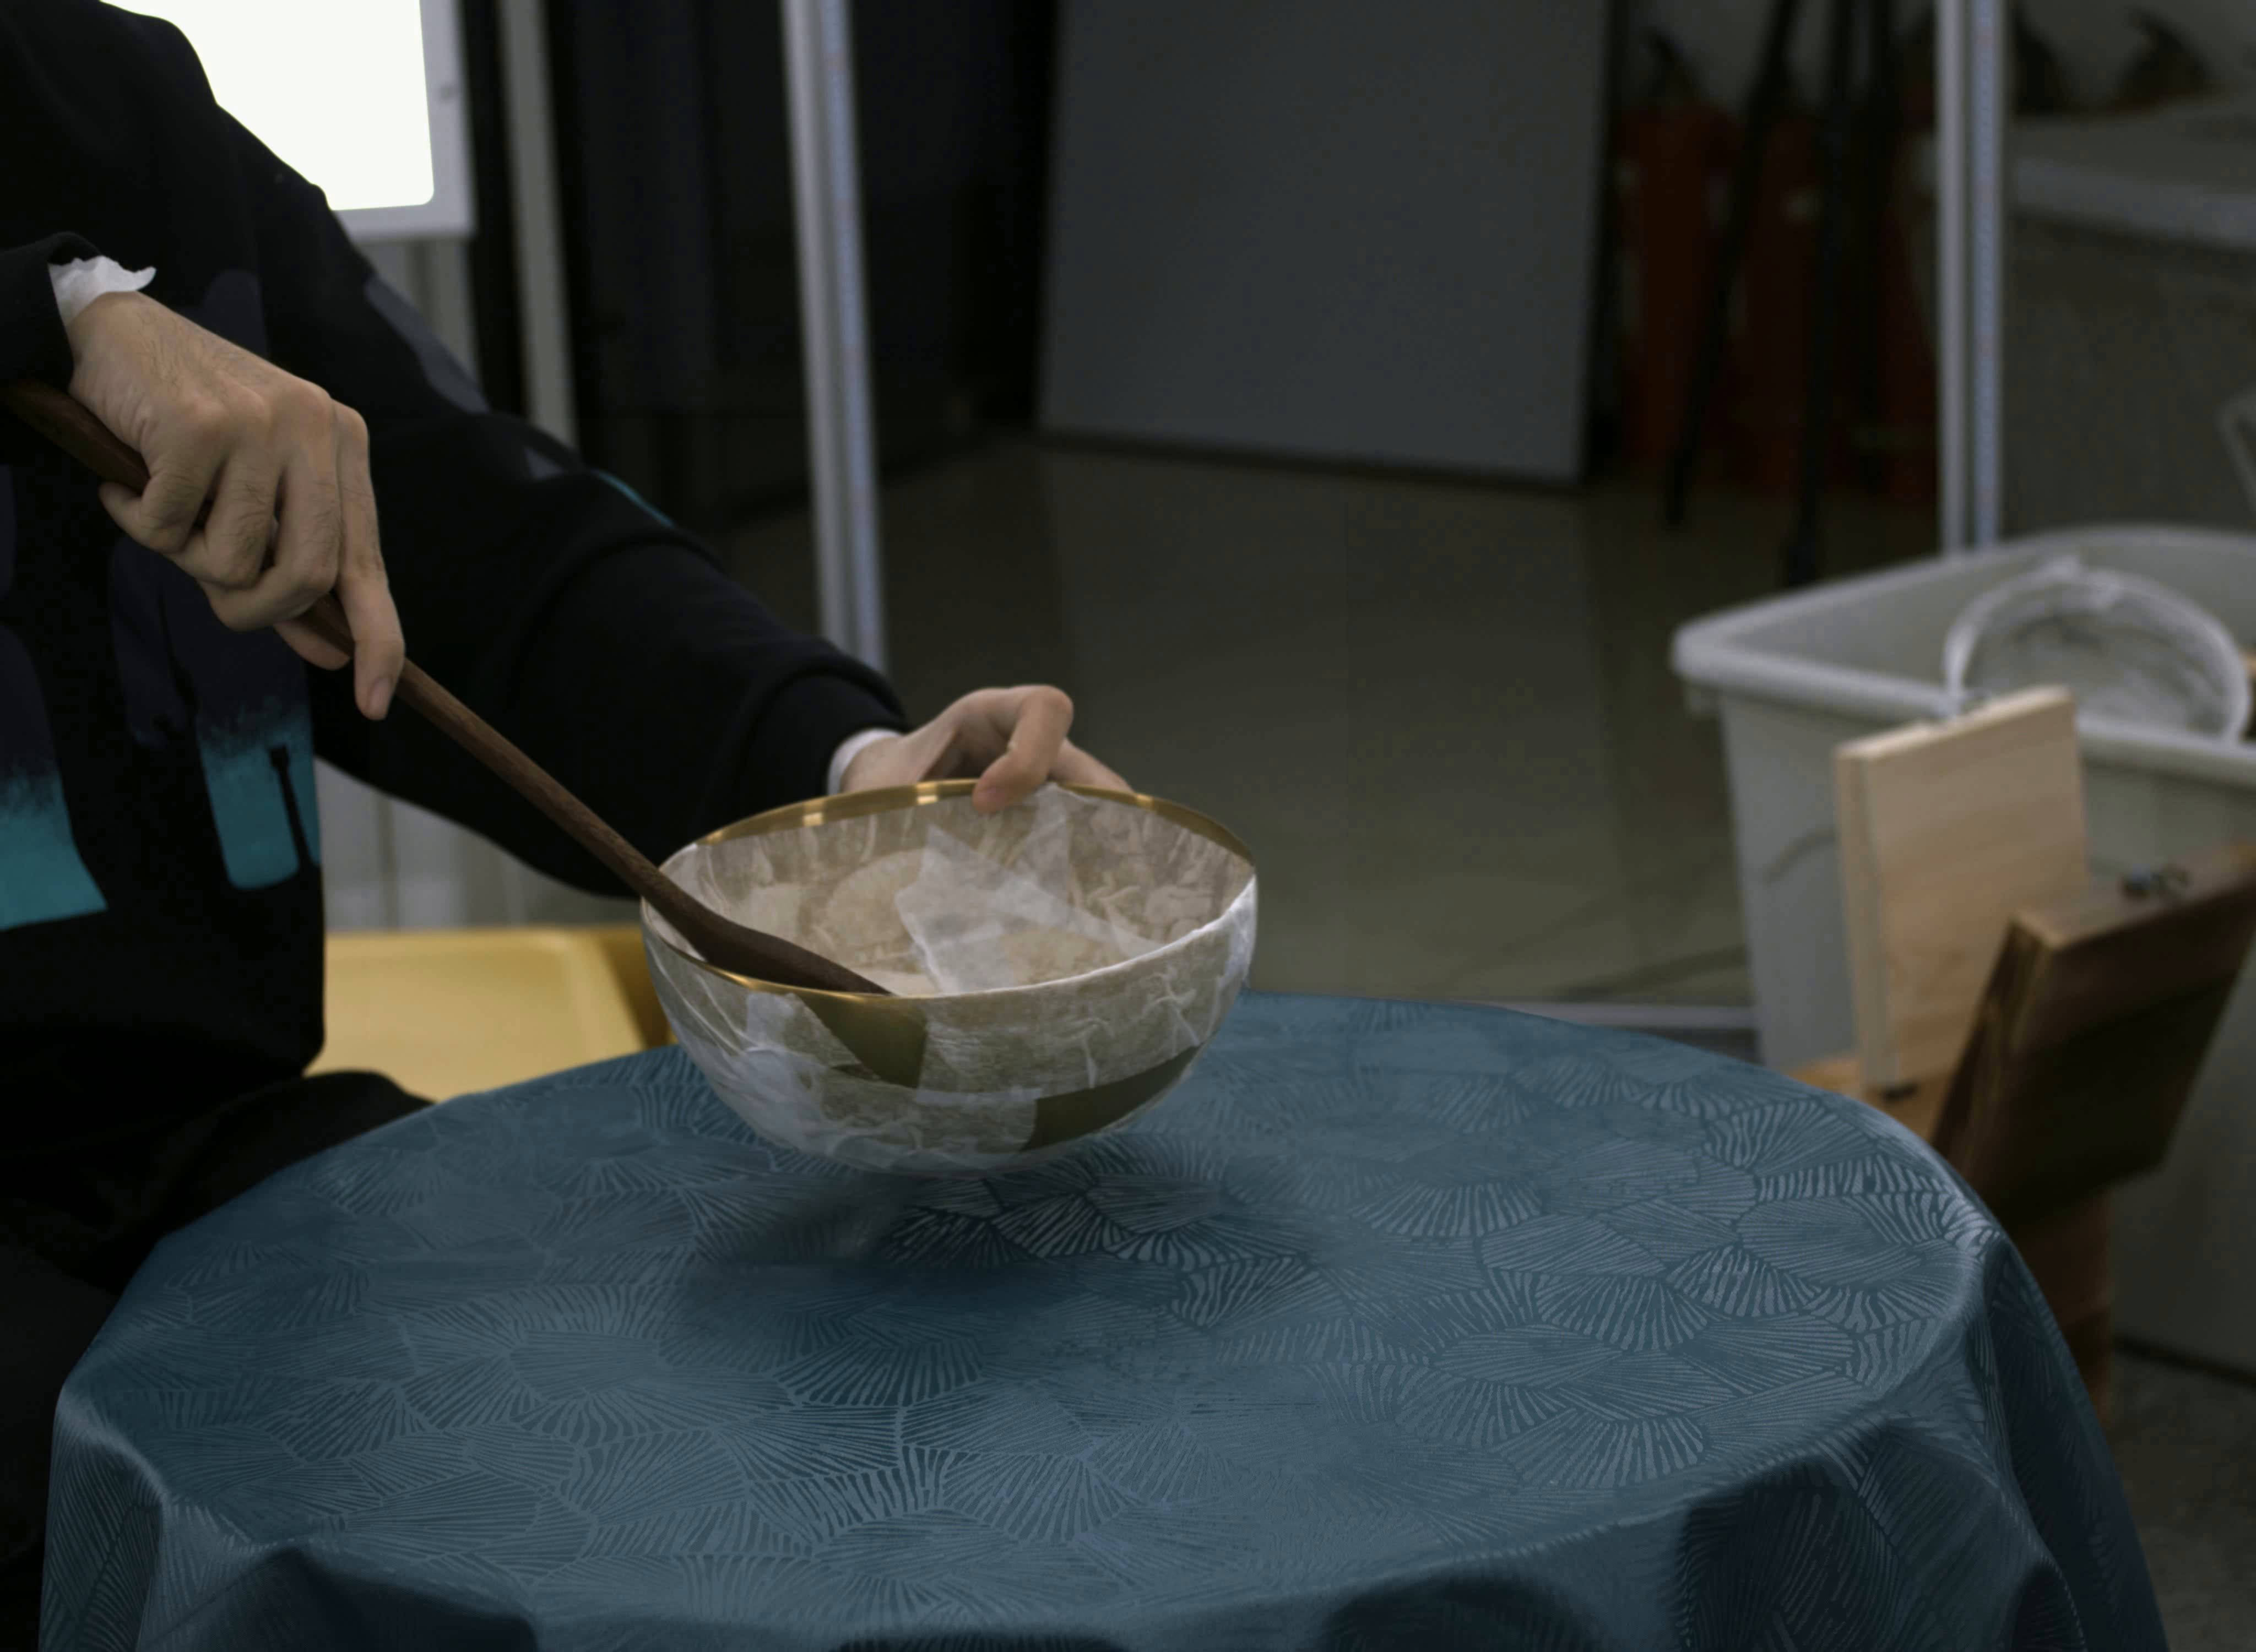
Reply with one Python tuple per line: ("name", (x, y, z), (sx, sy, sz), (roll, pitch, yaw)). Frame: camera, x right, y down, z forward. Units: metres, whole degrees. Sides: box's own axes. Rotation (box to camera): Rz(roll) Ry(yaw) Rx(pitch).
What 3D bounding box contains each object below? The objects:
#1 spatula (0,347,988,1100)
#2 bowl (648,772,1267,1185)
("spatula", (-0.199, -0.027, 1.686), (0.016, 0.384, 0.097), (-51, 1, -22))
("bowl", (-0.053, 0.058, 1.749), (0.212, 0.095, 0.215), (-6, 19, 1))
